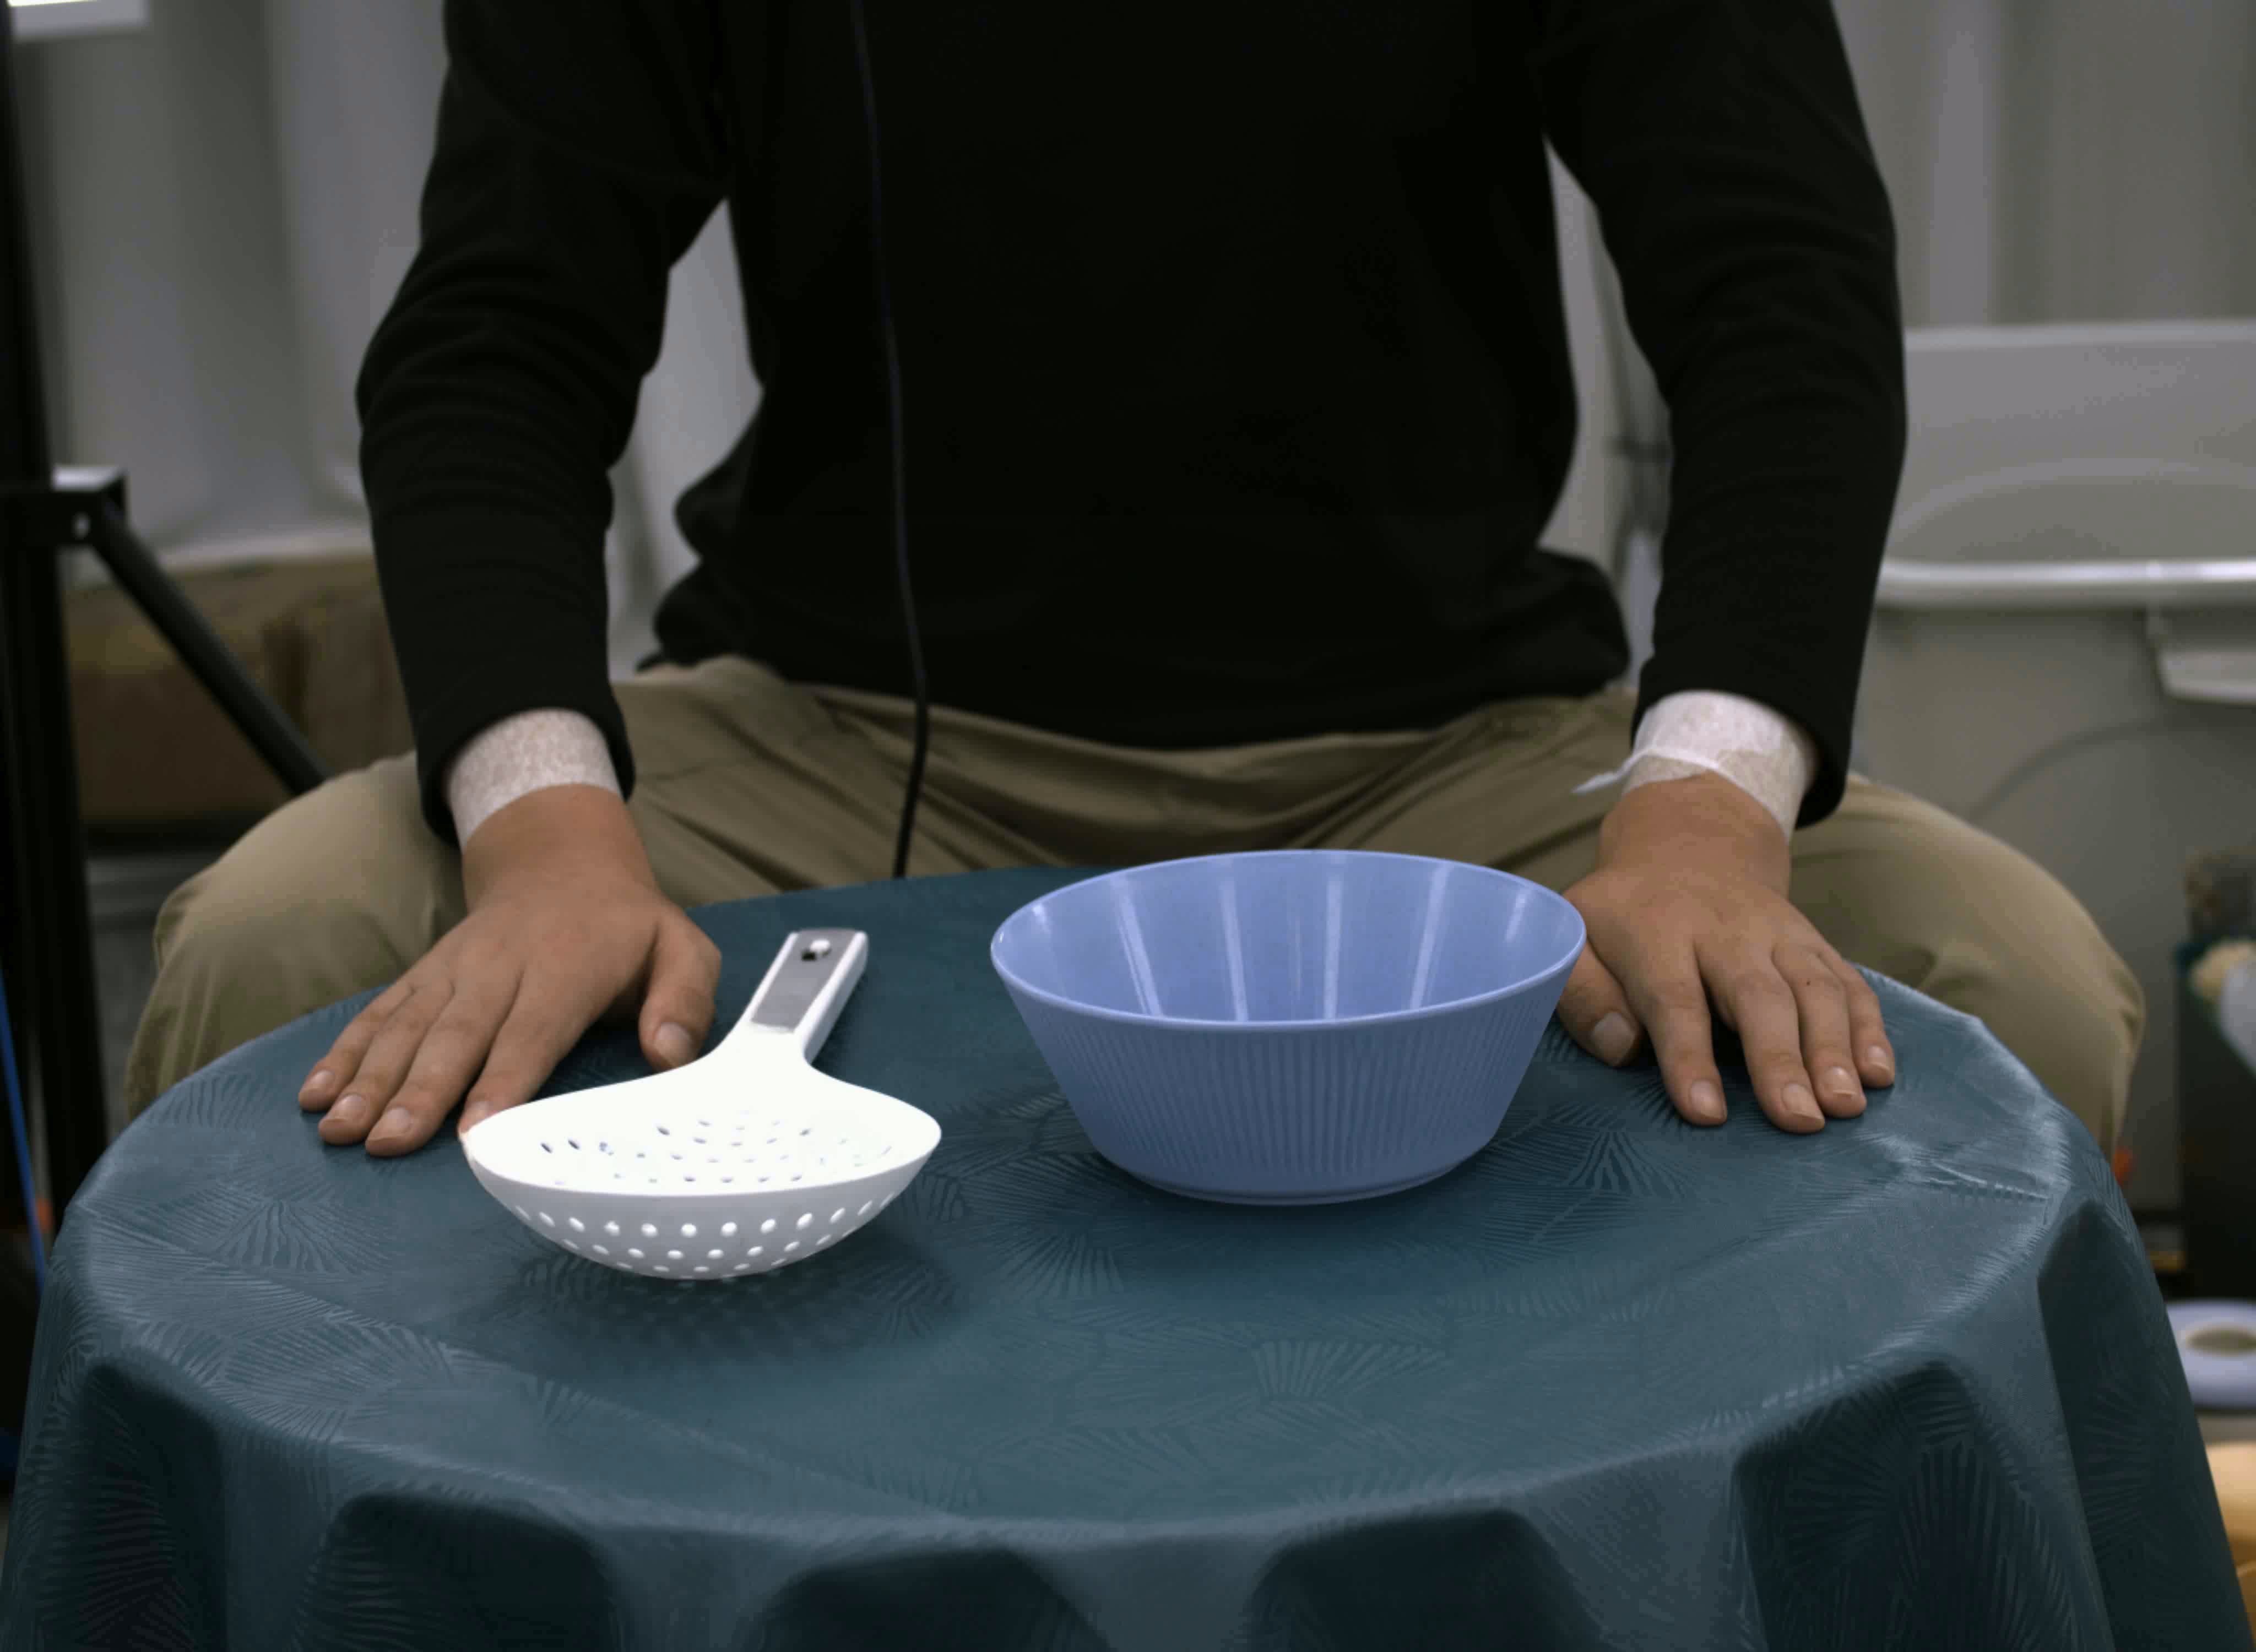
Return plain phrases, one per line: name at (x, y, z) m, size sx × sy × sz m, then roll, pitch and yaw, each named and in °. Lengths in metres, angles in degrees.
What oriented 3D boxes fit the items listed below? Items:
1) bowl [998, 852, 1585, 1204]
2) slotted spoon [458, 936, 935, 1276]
bowl at (0.049, 0.062, 1.581) m, size 0.175 × 0.070 × 0.177 m, roll -2°, pitch 15°, yaw -1°
slotted spoon at (-0.114, 0.075, 1.610) m, size 0.136 × 0.046 × 0.350 m, roll -1°, pitch 15°, yaw 5°
